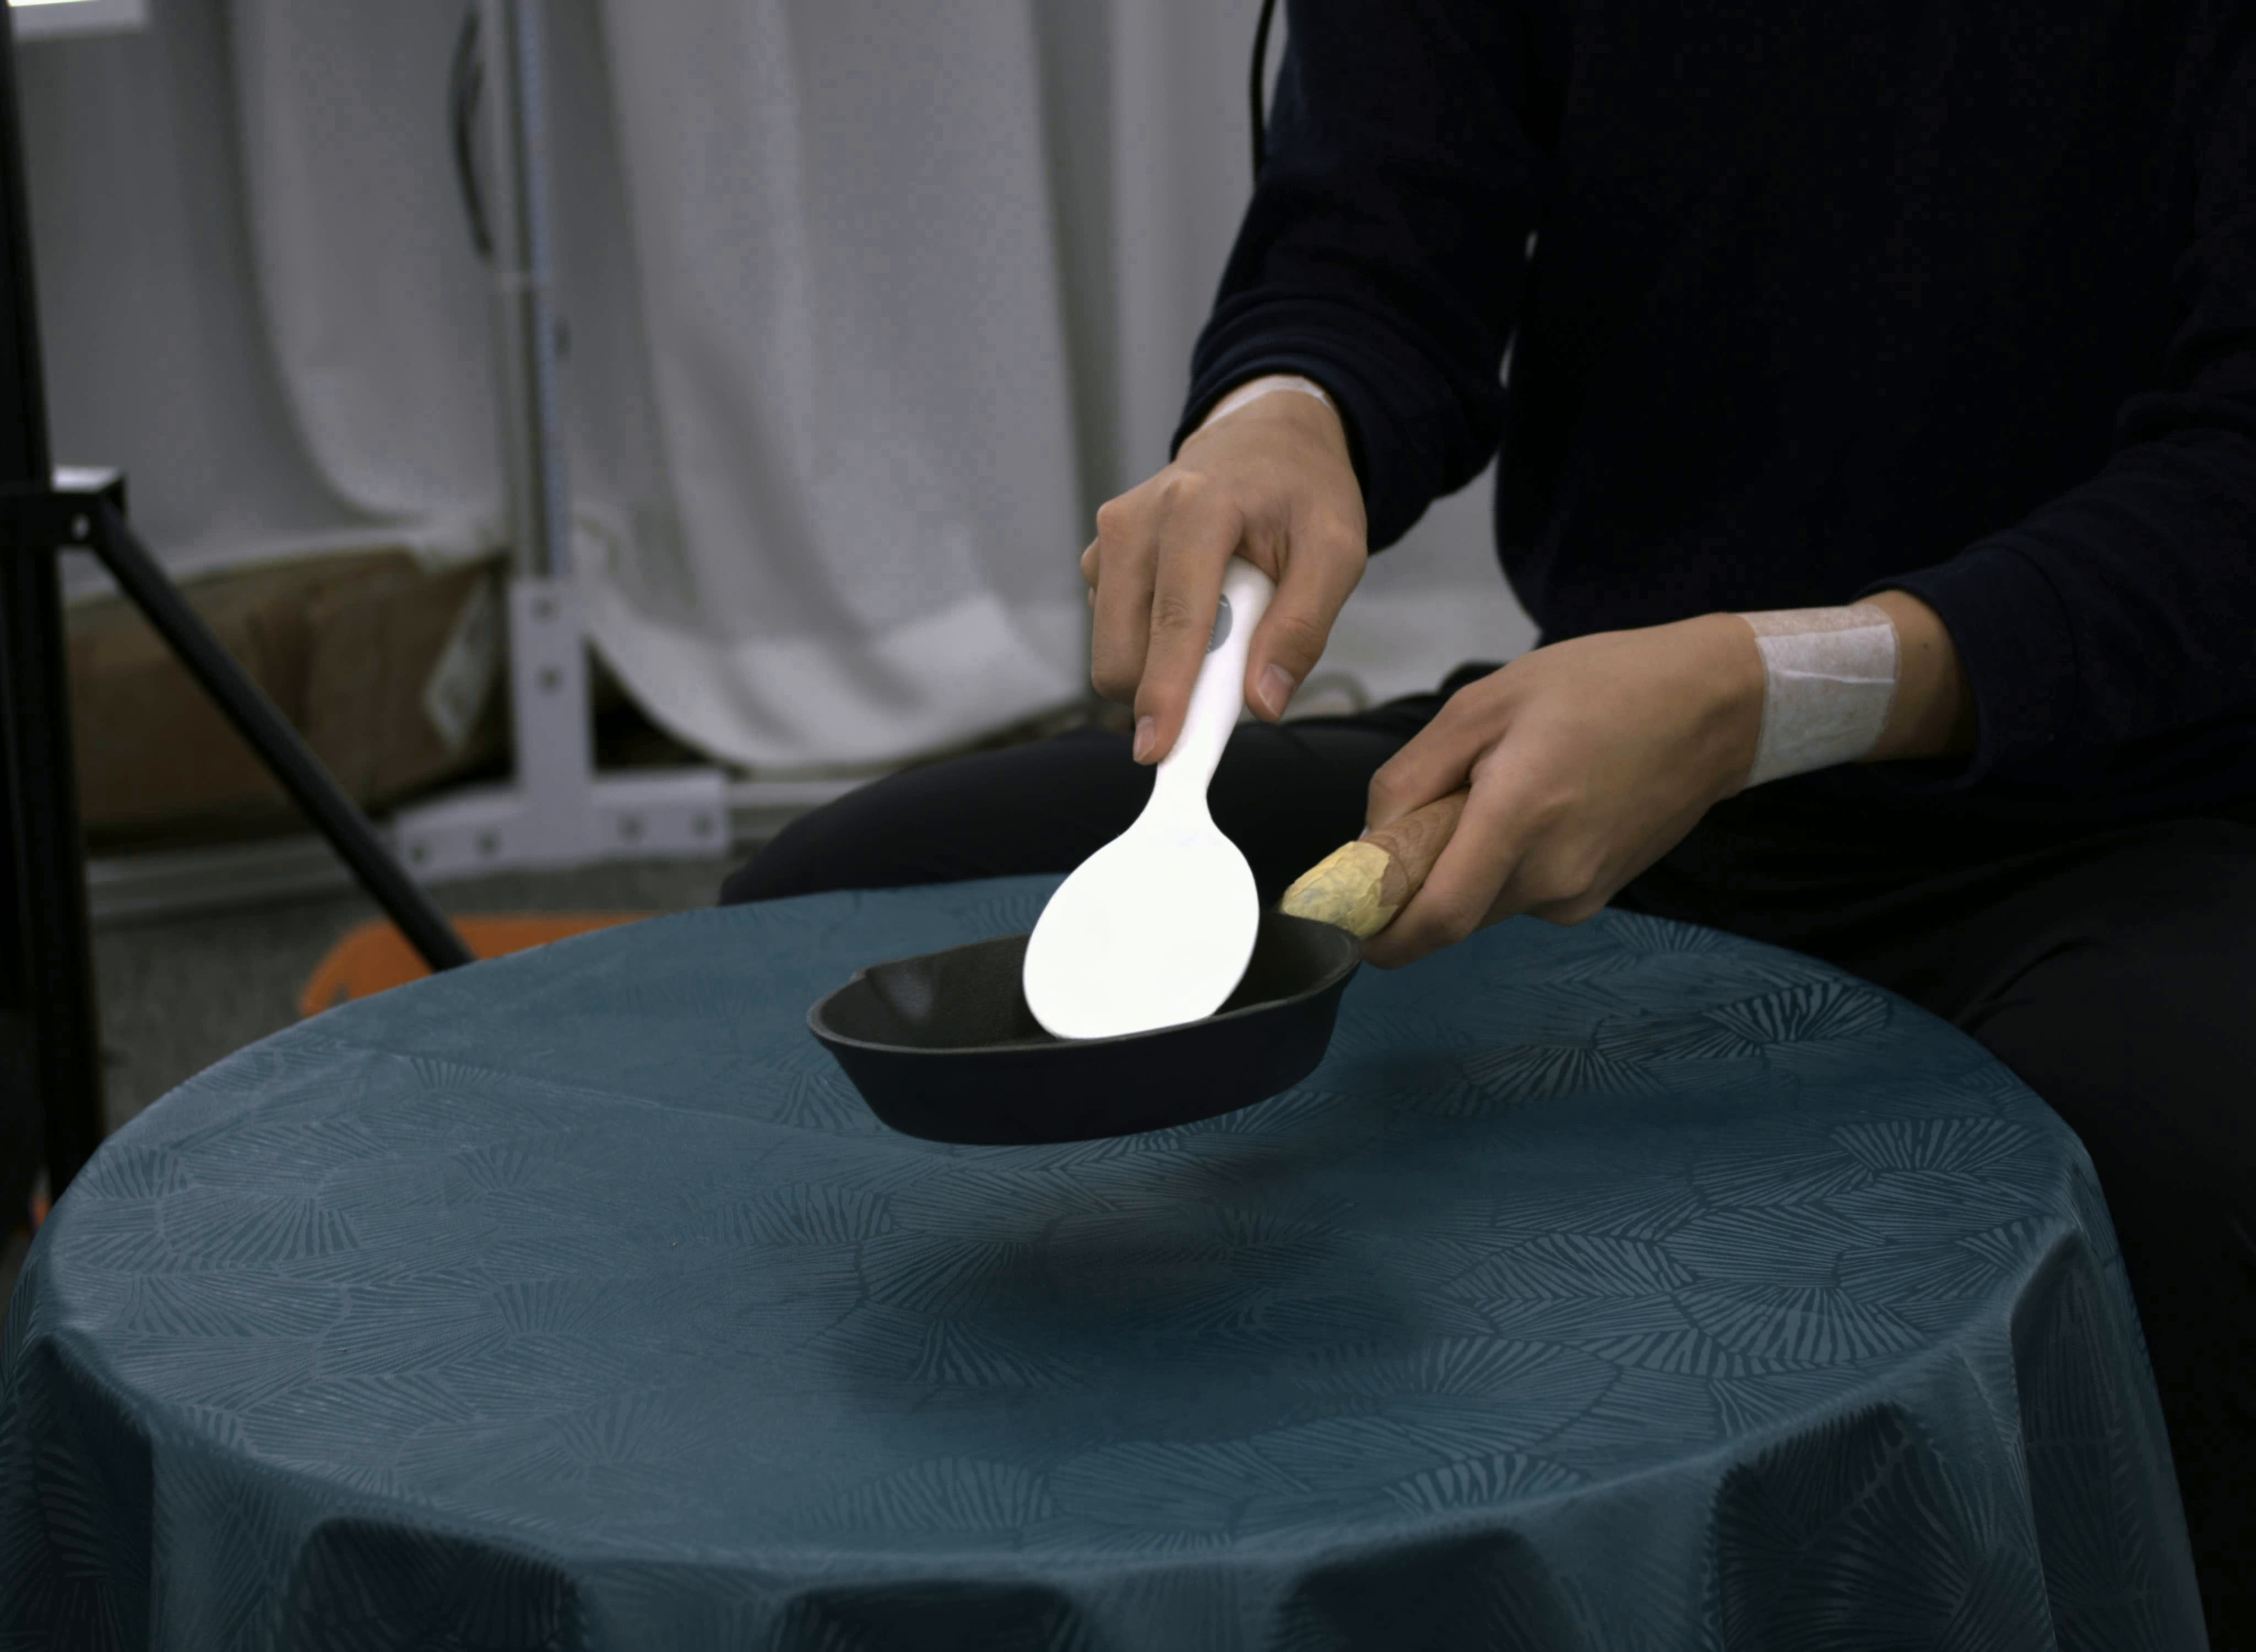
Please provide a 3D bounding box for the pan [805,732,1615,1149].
[{"bbox_3d":[0.045,0.032,1.542,0.172,0.049,0.317,4,17,44],"label":"pan"}]

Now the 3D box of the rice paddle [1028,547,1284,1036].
[{"bbox_3d":[0.016,-0.007,1.570,0.069,0.029,0.206,-5,40,18],"label":"rice paddle"}]
